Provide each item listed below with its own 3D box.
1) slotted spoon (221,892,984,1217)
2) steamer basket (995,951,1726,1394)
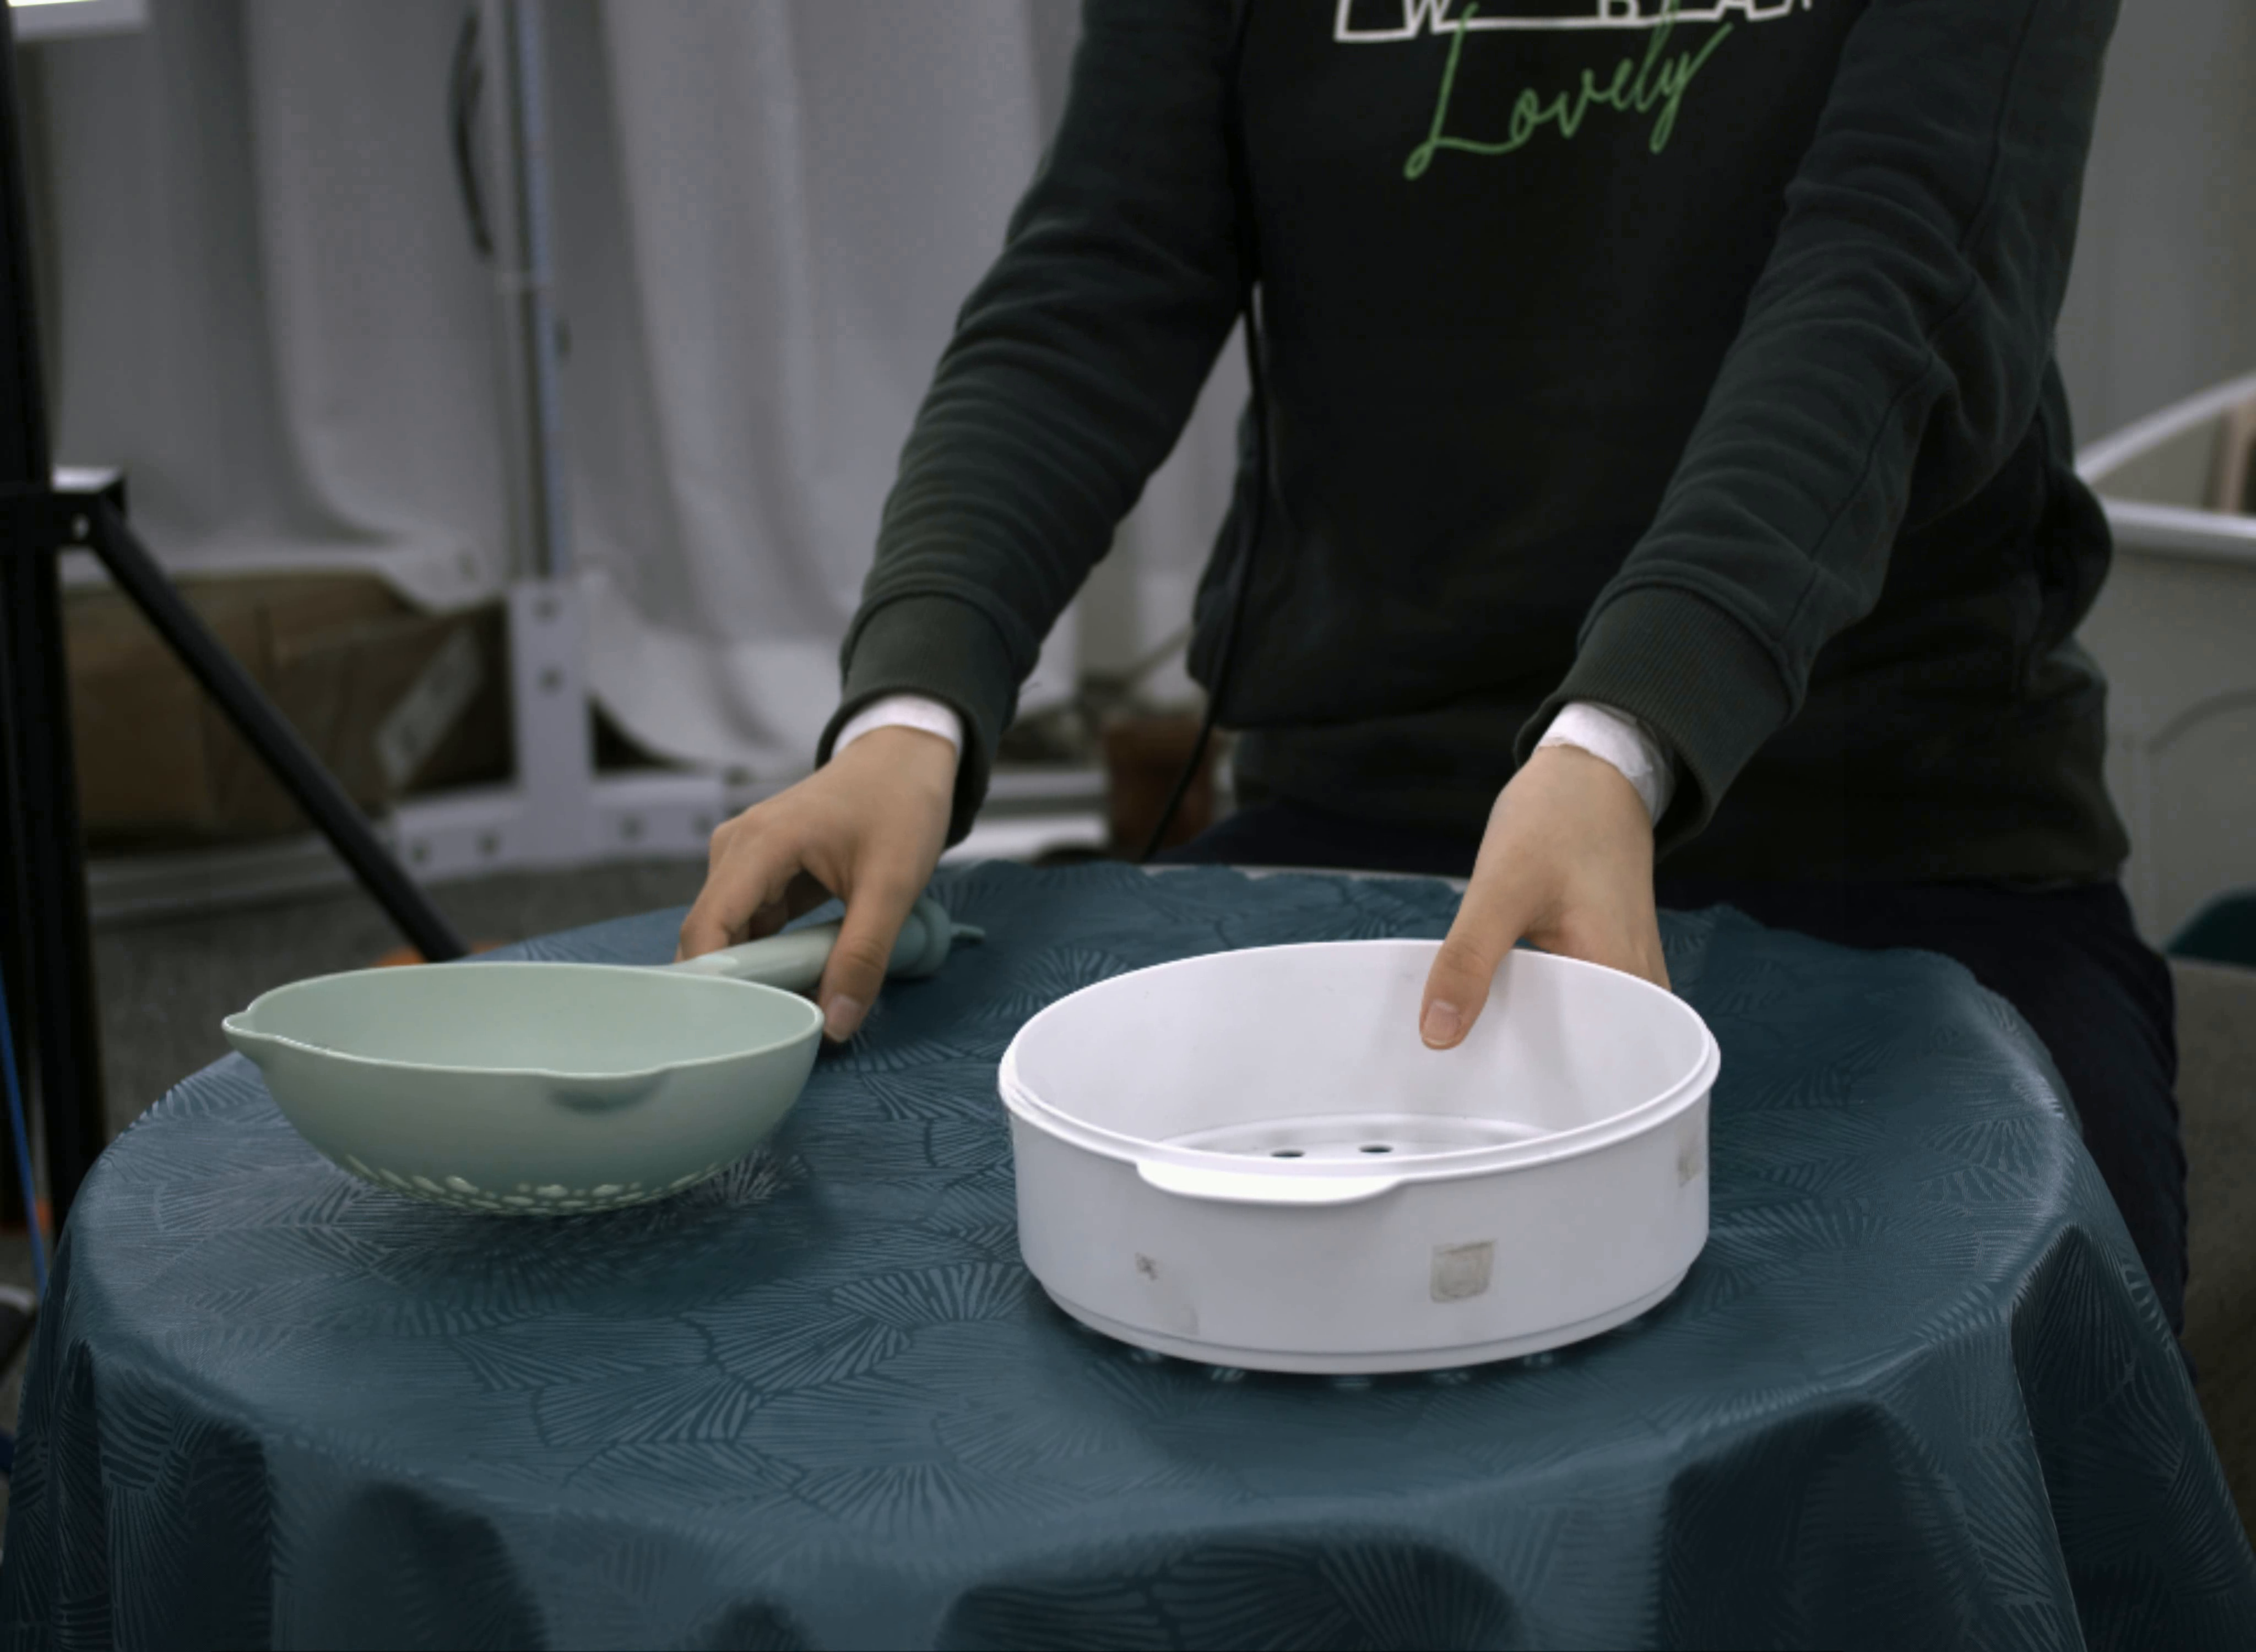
[{"bbox_3d":[-0.132,0.055,1.649,0.172,0.075,0.353,6,18,25],"label":"slotted spoon"},{"bbox_3d":[0.065,0.096,1.473,0.204,0.069,0.228,3,17,17],"label":"steamer basket"}]
